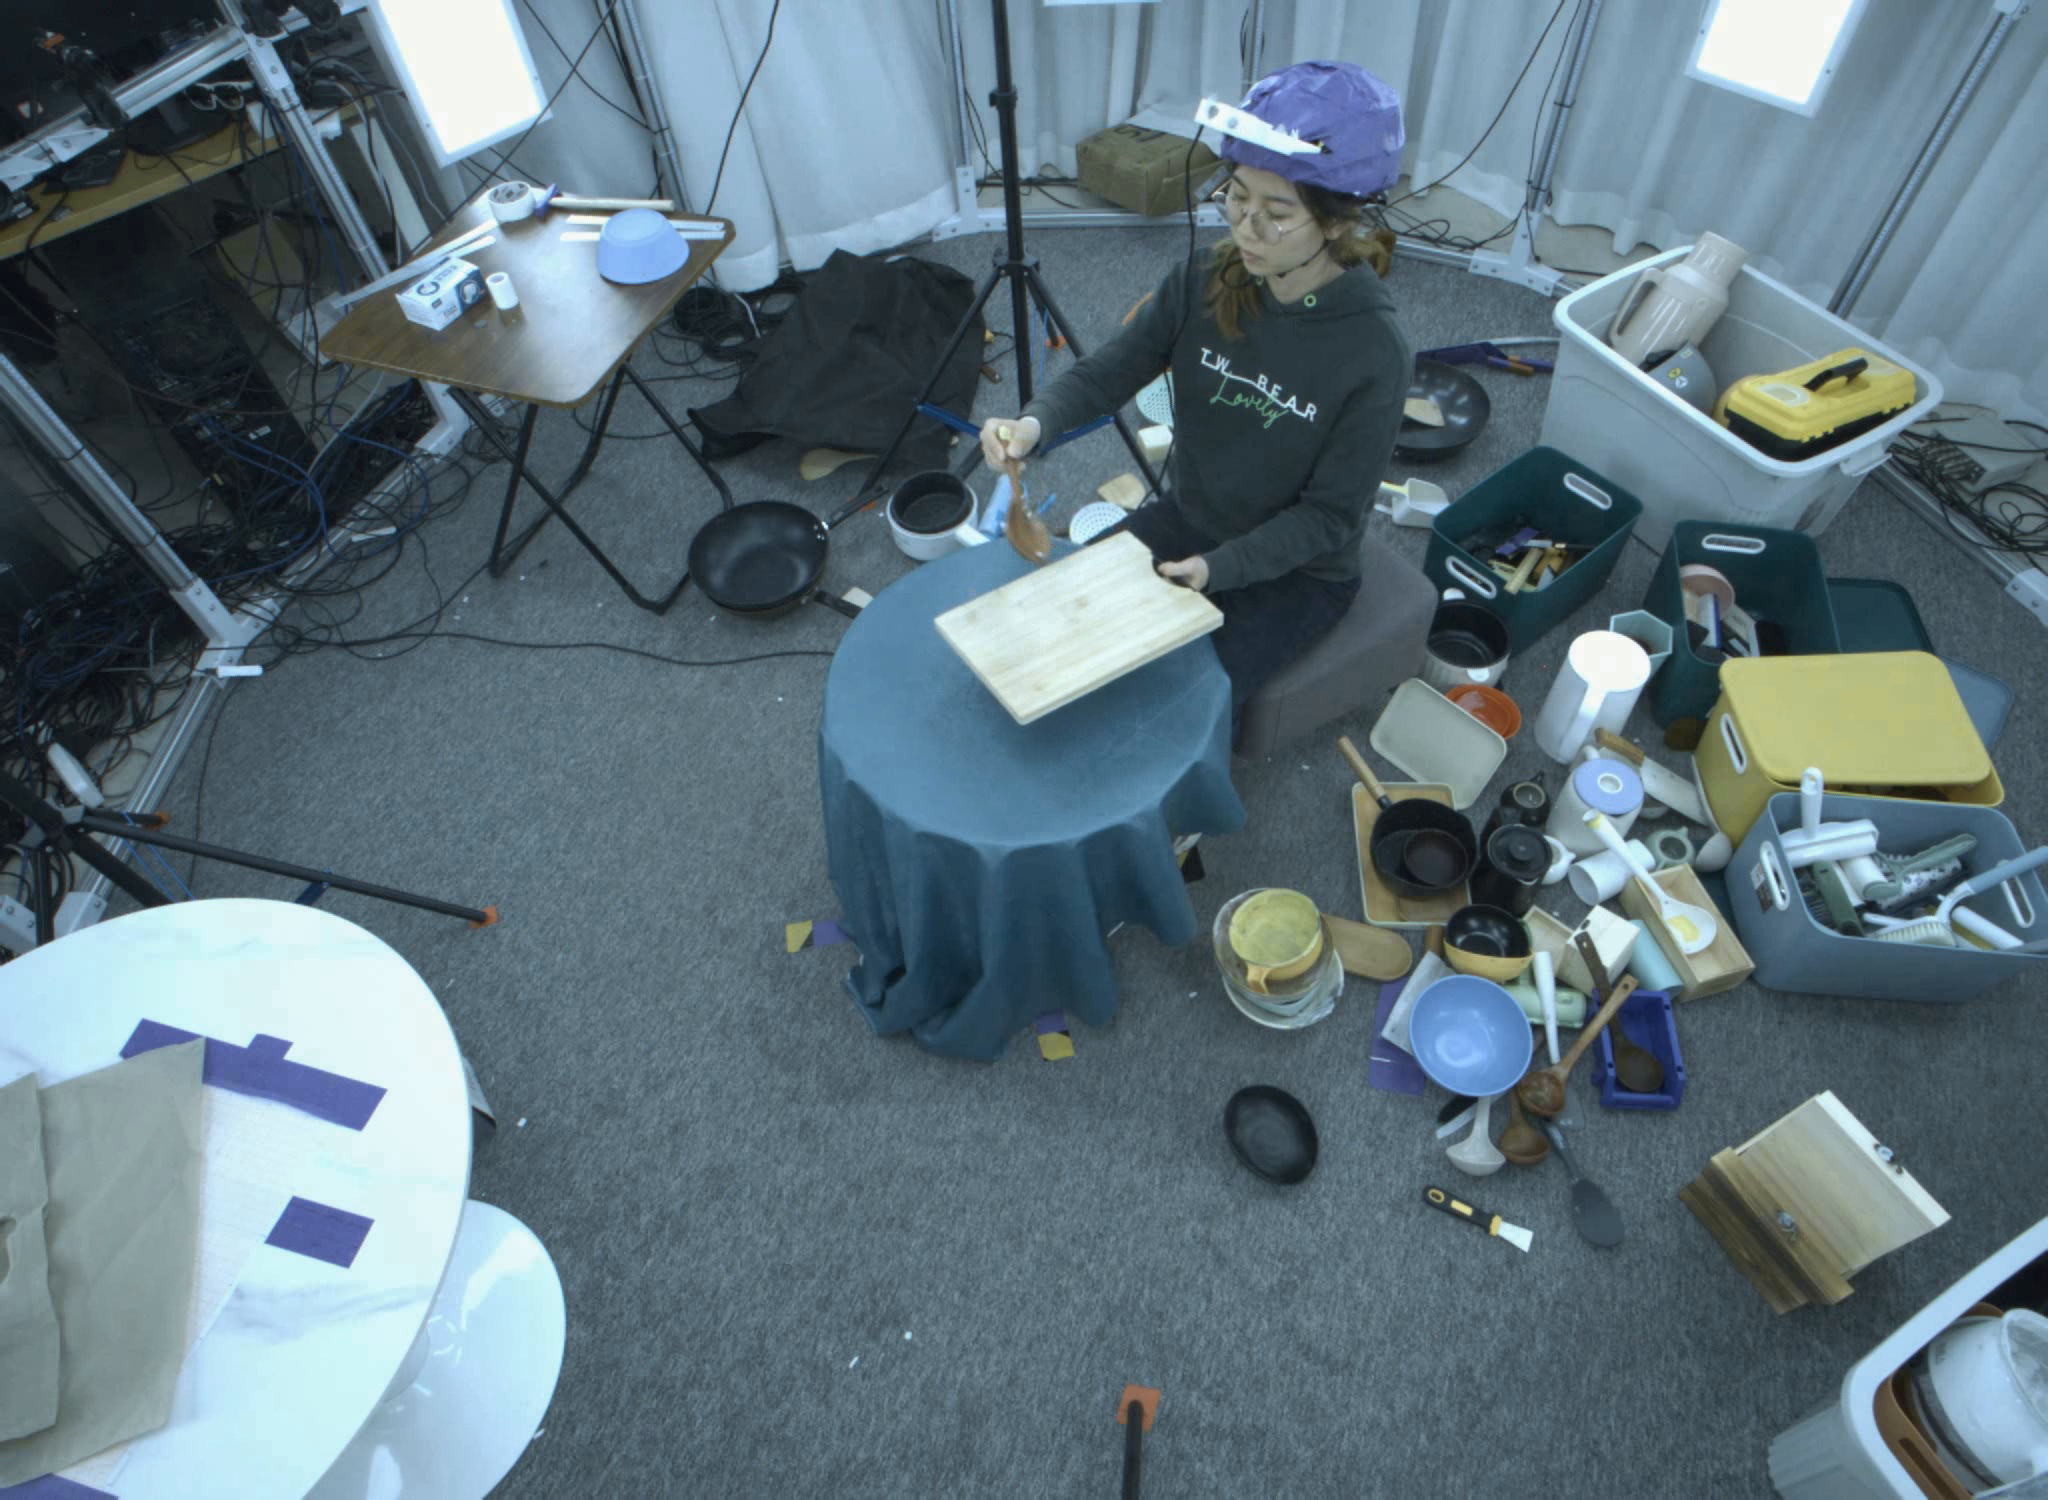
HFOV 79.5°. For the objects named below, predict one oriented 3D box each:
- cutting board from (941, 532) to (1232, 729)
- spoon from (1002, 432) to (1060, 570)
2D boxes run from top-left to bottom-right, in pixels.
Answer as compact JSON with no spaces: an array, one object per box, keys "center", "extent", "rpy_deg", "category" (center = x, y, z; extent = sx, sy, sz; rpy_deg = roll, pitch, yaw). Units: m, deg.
[{"center":[0.085,-0.182,1.761],"extent":[0.352,0.024,0.245],"rpy_deg":[-28,55,-20],"category":"cutting board"},{"center":[-0.001,-0.340,1.664],"extent":[0.077,0.017,0.214],"rpy_deg":[-2,73,-38],"category":"spoon"}]
